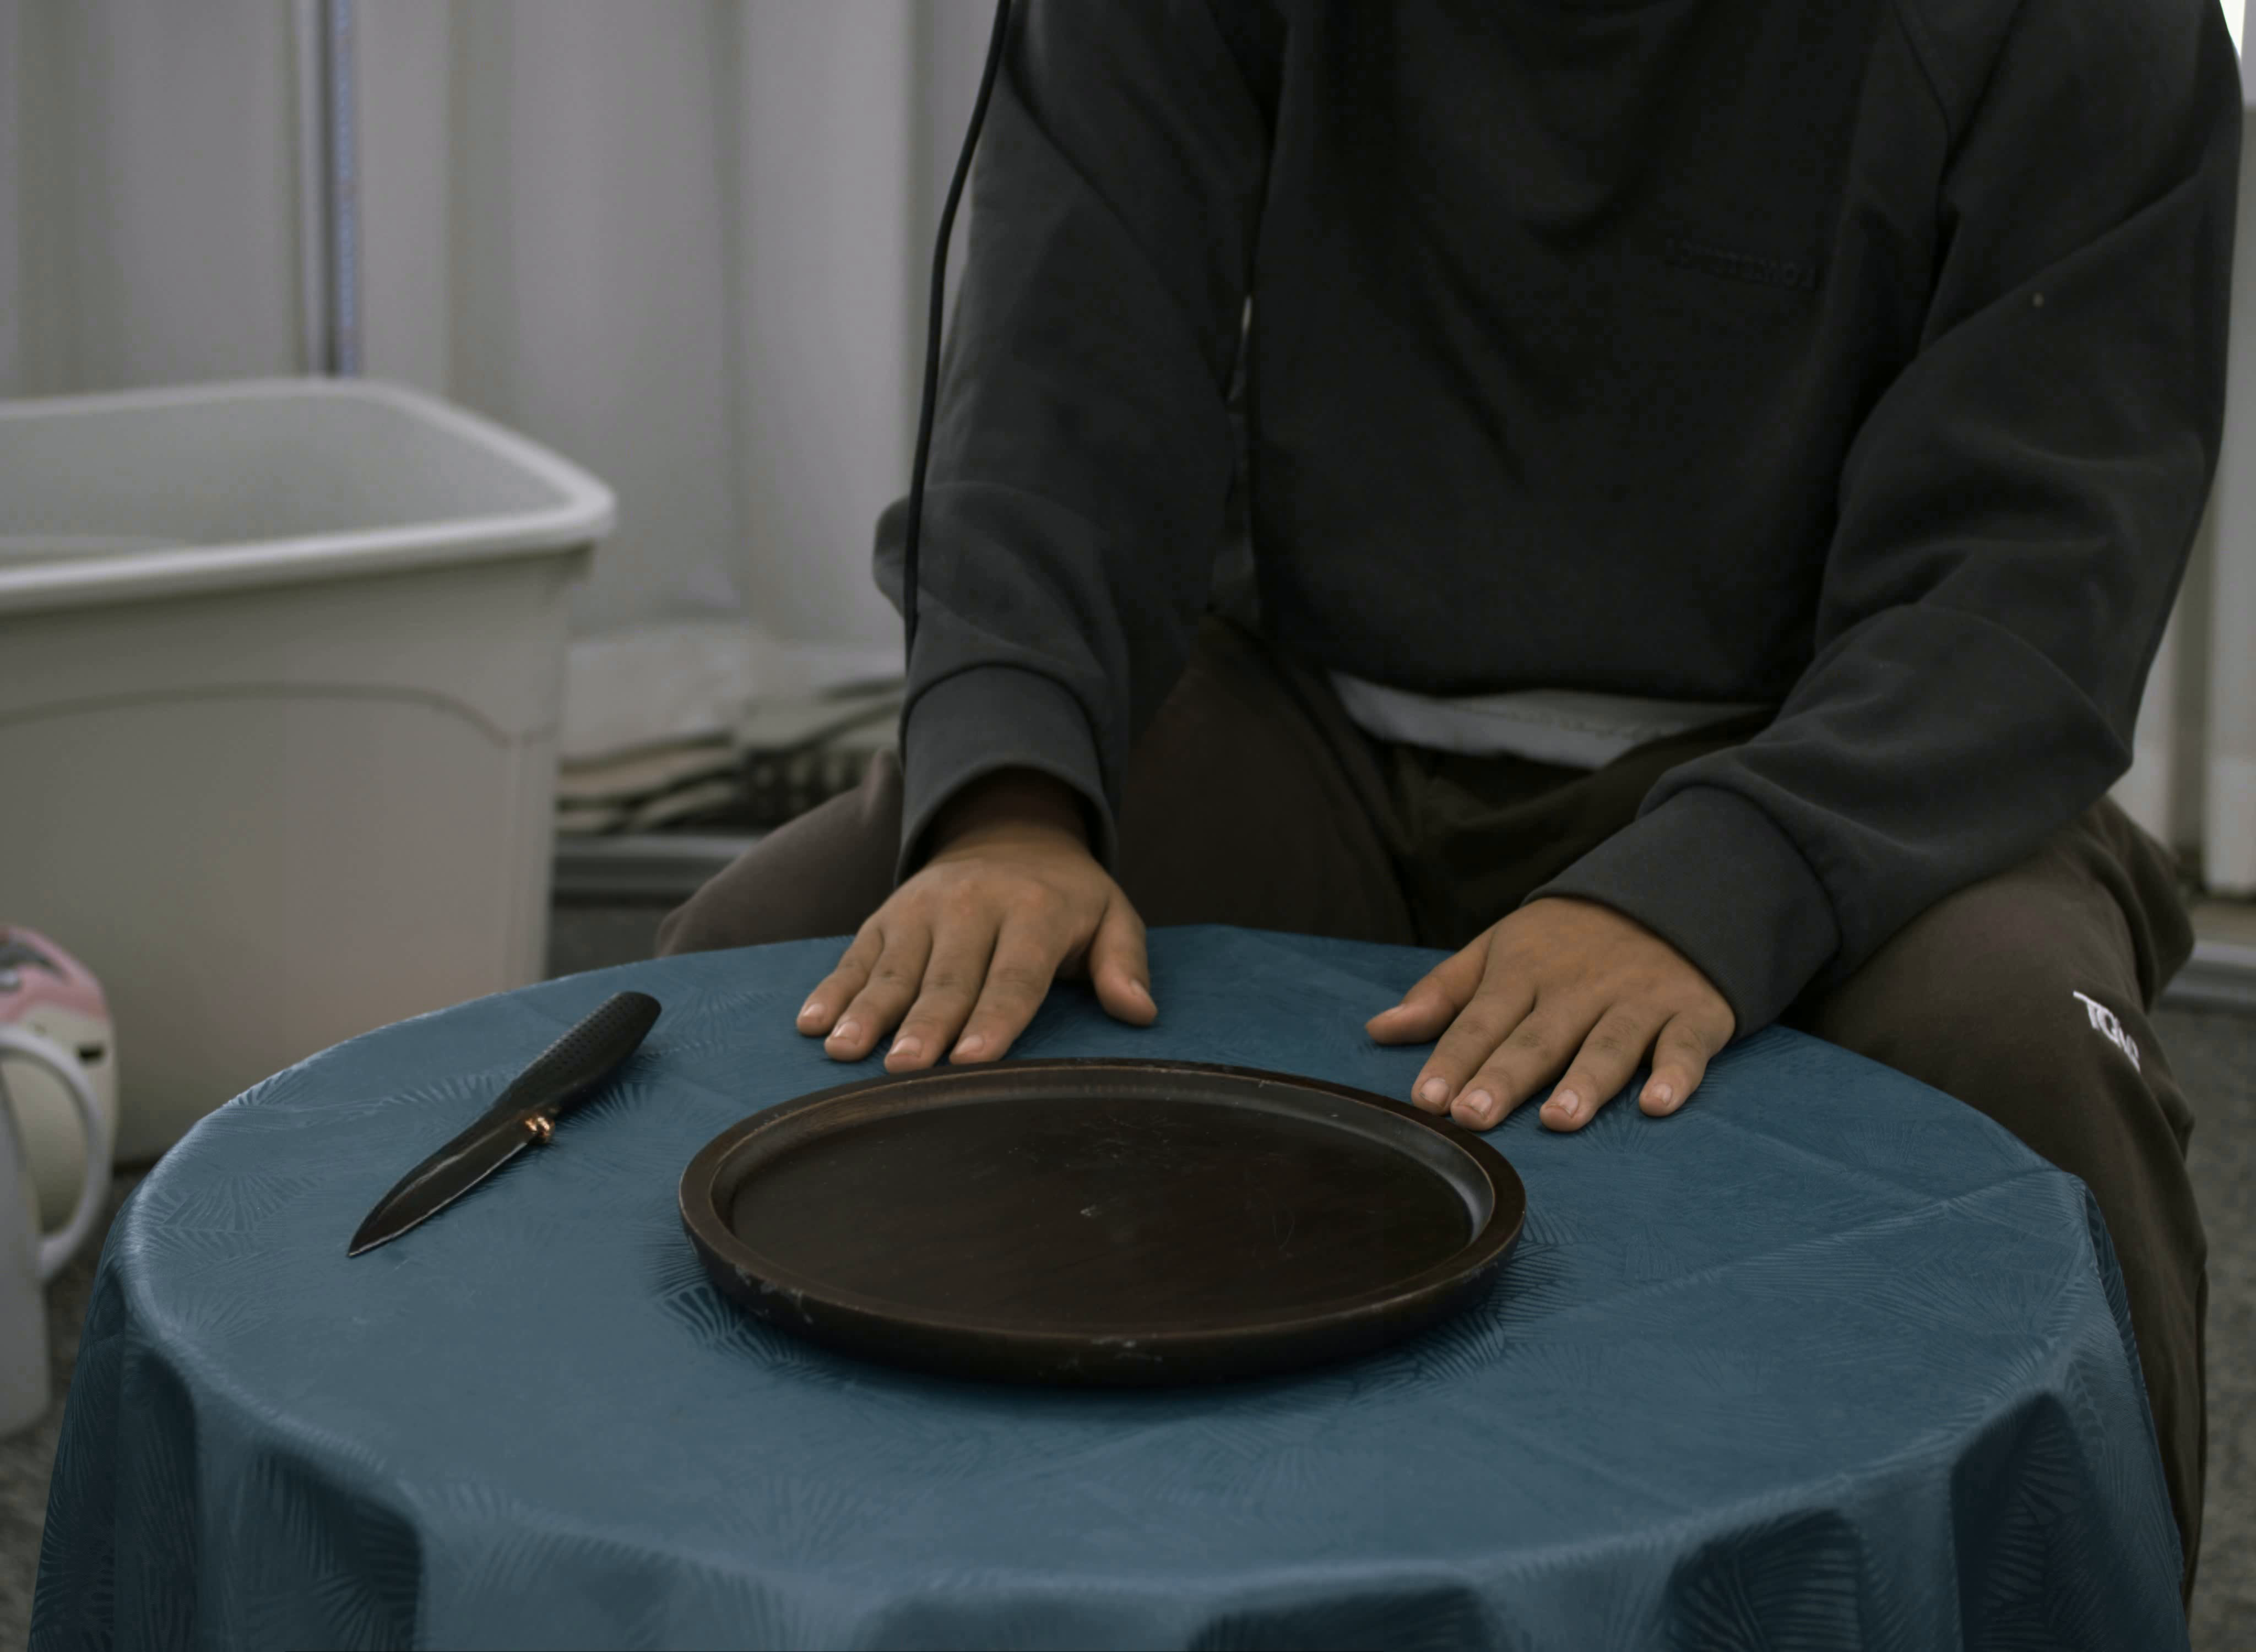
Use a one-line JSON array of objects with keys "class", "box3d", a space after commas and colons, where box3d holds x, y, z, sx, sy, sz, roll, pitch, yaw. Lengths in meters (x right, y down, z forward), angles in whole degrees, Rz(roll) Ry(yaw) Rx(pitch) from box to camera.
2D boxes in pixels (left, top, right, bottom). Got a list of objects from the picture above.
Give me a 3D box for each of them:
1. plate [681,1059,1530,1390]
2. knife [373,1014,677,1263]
[{"class": "plate", "box3d": [-0.007, 0.116, 1.570, 0.254, 0.029, 0.253, 0, 14, 1]}, {"class": "knife", "box3d": [-0.191, 0.097, 1.654, 0.026, 0.017, 0.225, 11, 18, 16]}]
